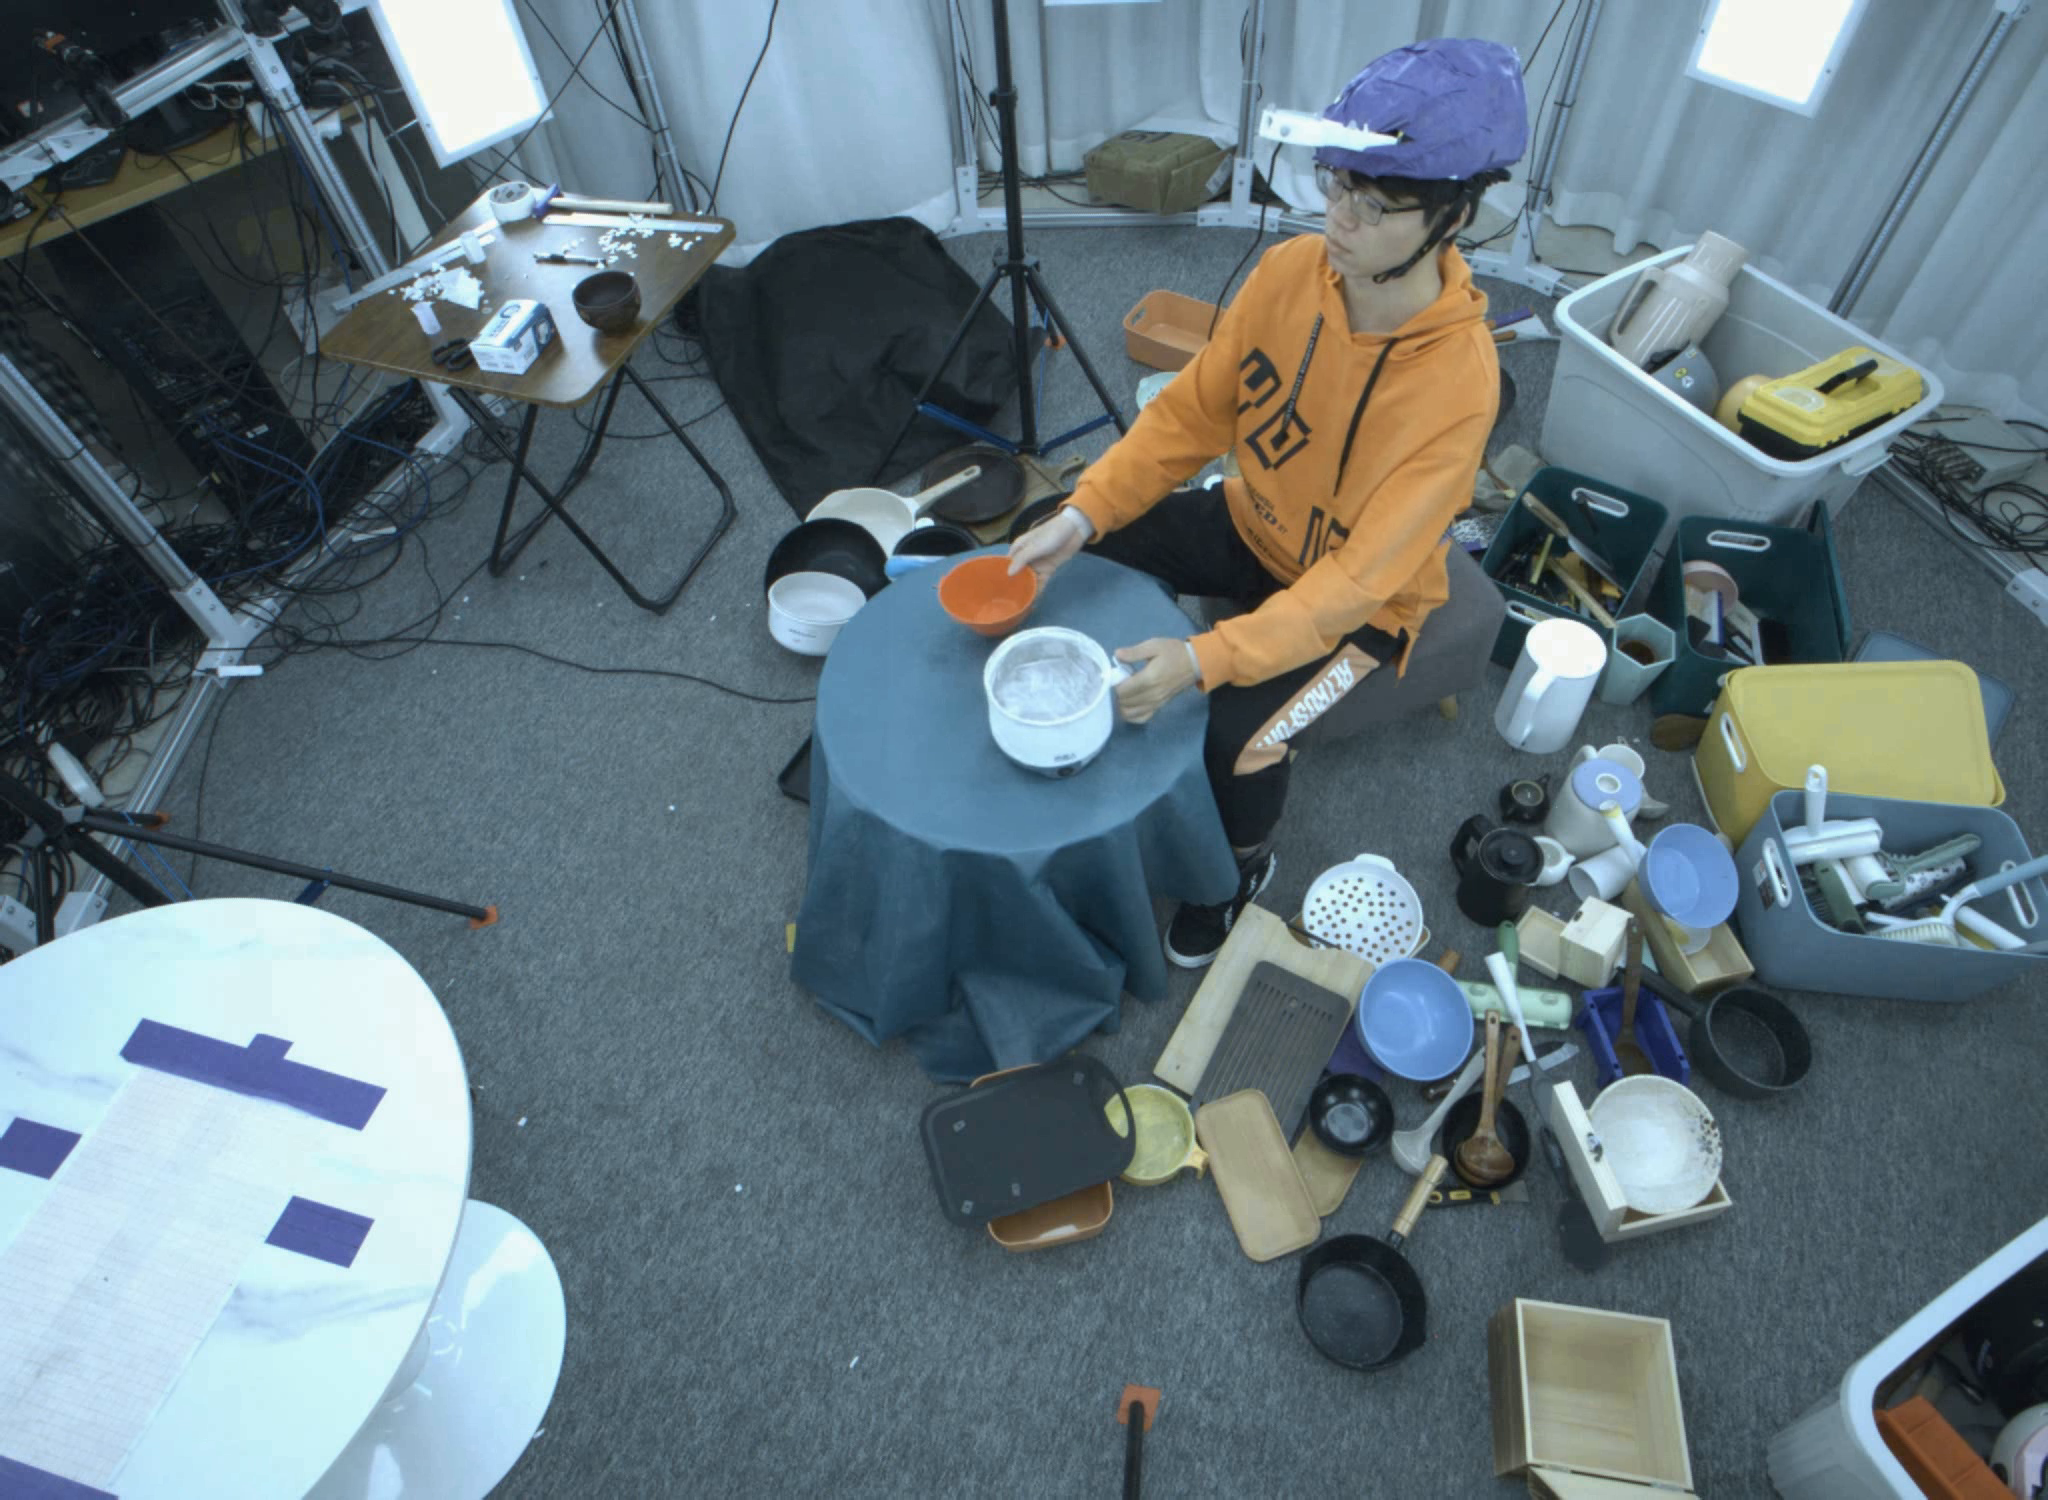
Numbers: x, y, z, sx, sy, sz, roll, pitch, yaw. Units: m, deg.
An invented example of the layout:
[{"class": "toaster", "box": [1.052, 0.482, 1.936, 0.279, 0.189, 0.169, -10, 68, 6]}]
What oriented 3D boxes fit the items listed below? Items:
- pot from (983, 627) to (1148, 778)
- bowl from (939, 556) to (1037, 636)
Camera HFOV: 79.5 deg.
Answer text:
[{"class": "pot", "box": [0.063, -0.074, 1.752, 0.235, 0.138, 0.176, -14, 56, -6]}, {"class": "bowl", "box": [-0.049, -0.221, 1.874, 0.147, 0.106, 0.146, -3, 58, 5]}]
